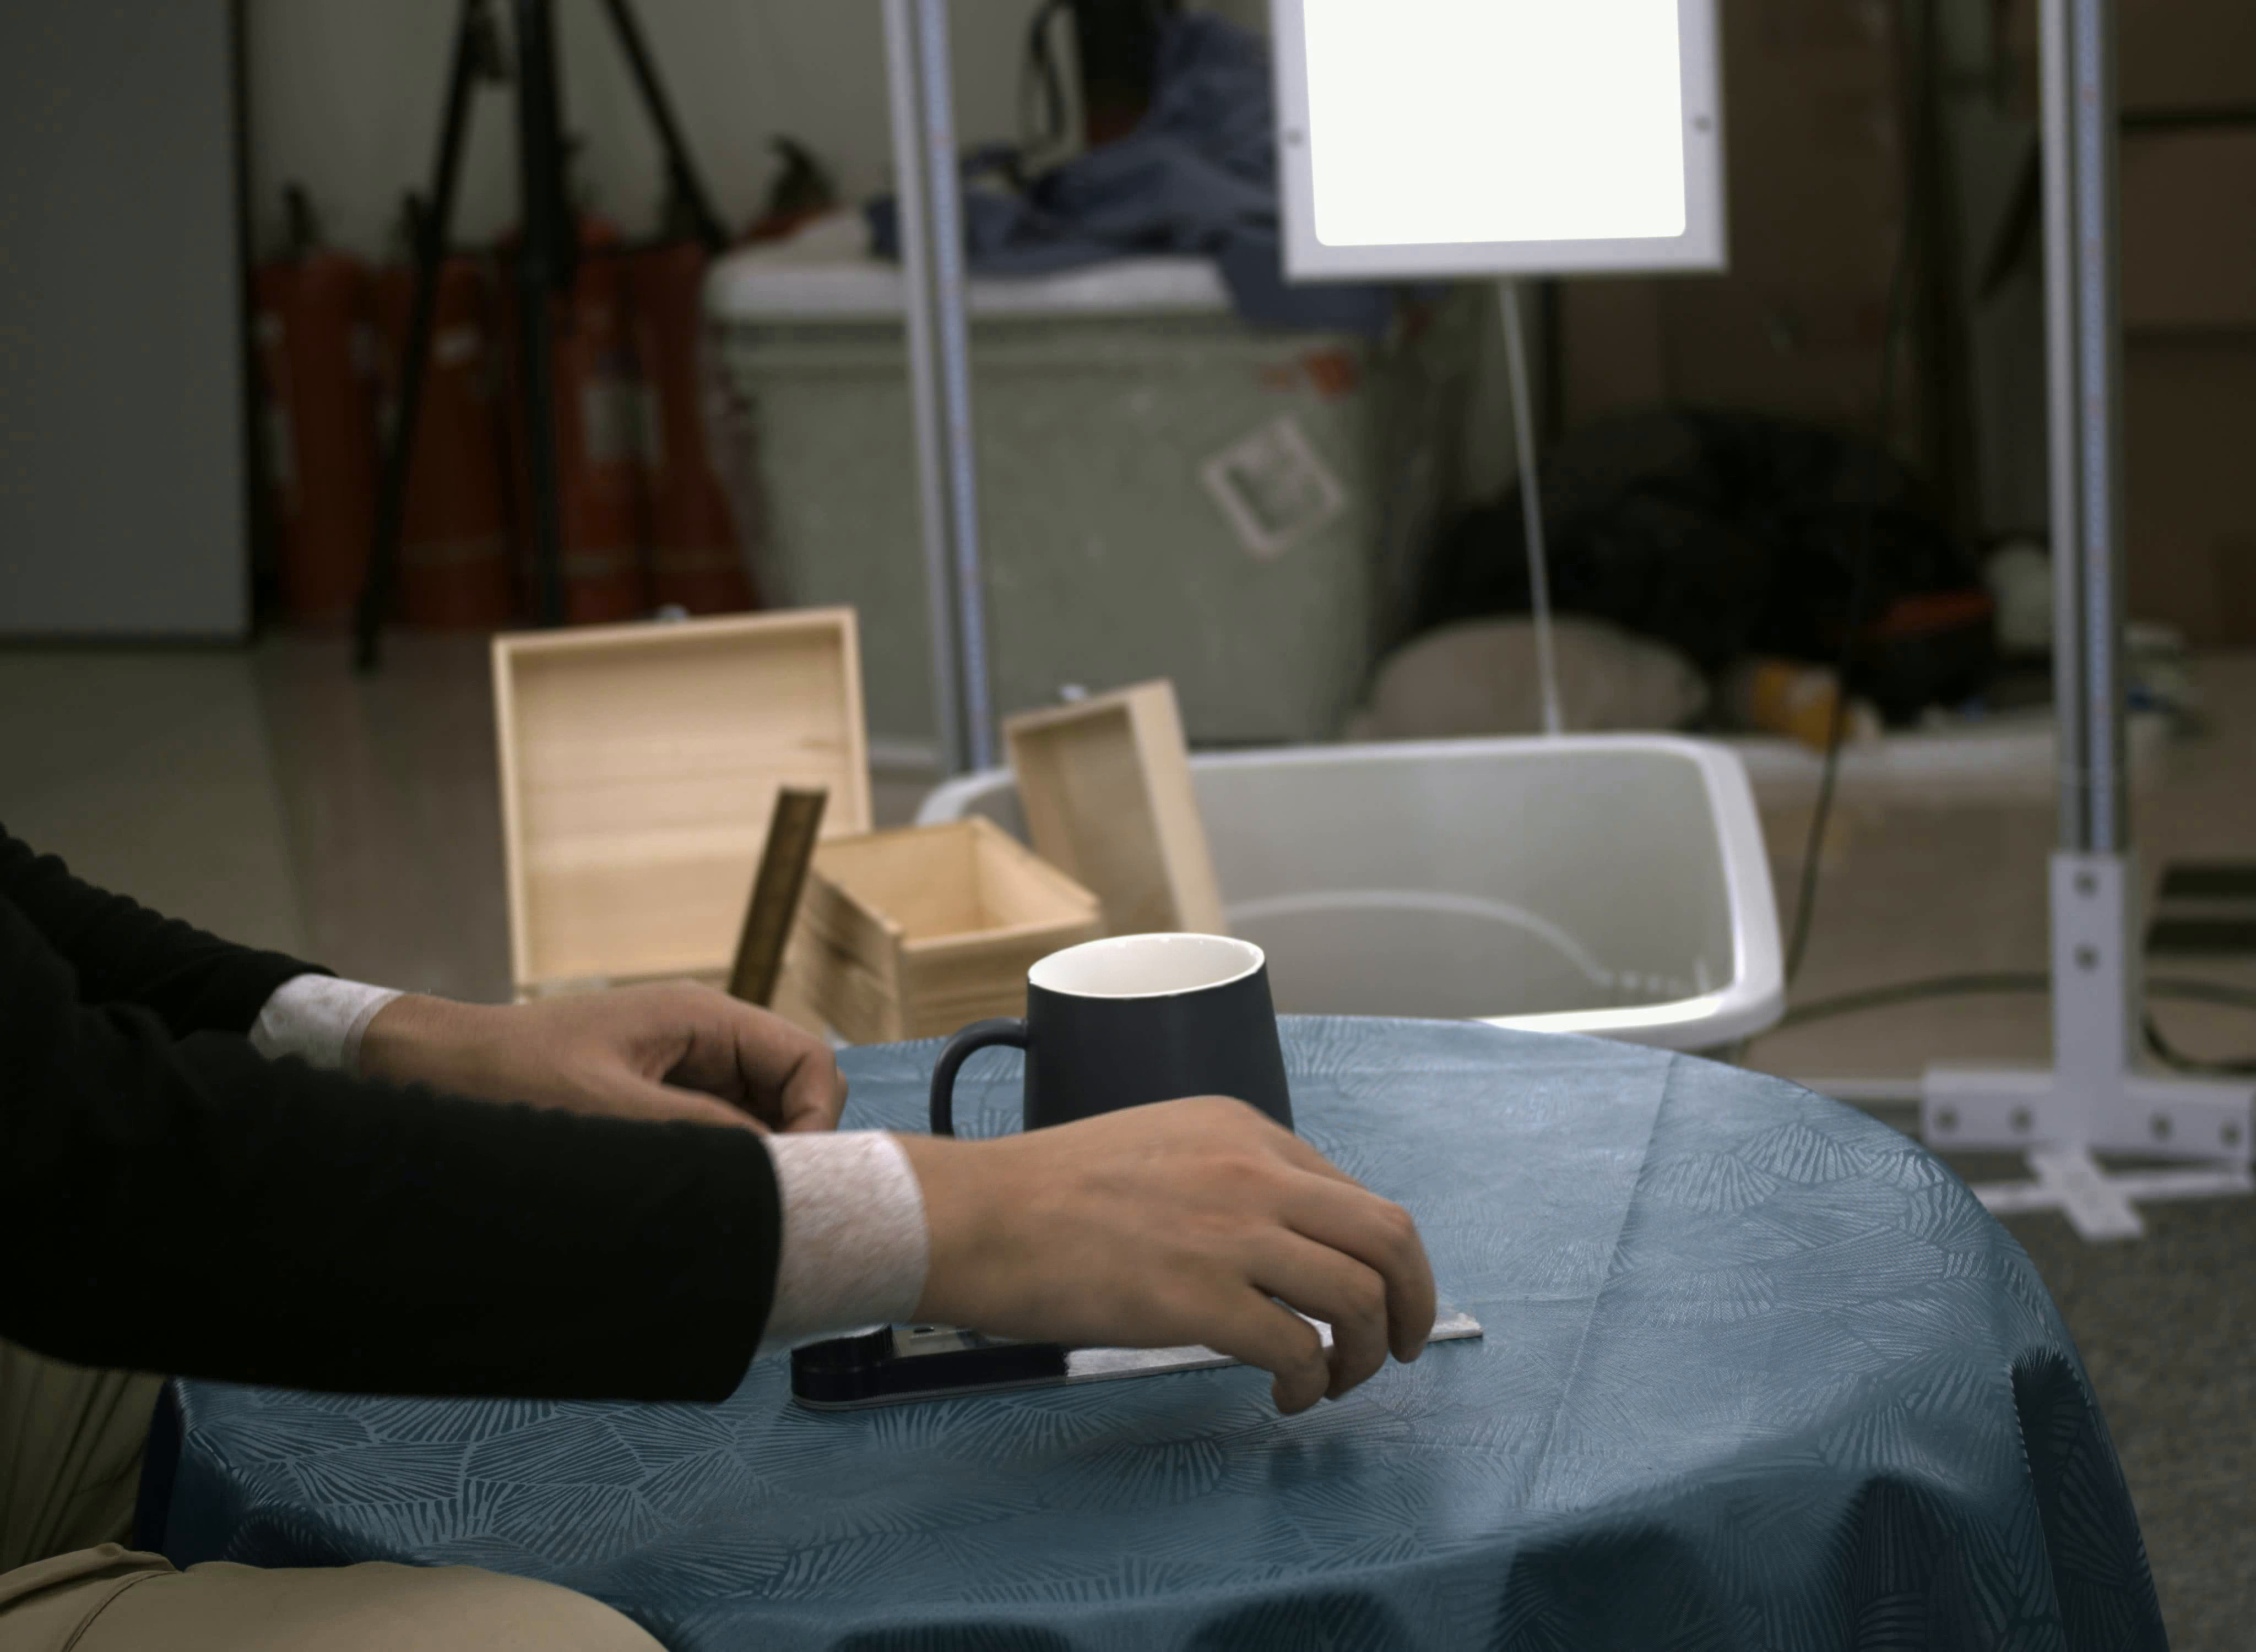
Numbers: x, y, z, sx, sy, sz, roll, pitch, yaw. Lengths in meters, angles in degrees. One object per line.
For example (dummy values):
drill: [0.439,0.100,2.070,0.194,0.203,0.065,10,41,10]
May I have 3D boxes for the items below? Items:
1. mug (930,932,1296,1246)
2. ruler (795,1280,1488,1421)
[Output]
mug: [-0.006,0.089,1.856,0.123,0.090,0.093,-4,13,0]
ruler: [0.004,0.157,1.727,0.217,0.024,0.038,-7,20,-4]
